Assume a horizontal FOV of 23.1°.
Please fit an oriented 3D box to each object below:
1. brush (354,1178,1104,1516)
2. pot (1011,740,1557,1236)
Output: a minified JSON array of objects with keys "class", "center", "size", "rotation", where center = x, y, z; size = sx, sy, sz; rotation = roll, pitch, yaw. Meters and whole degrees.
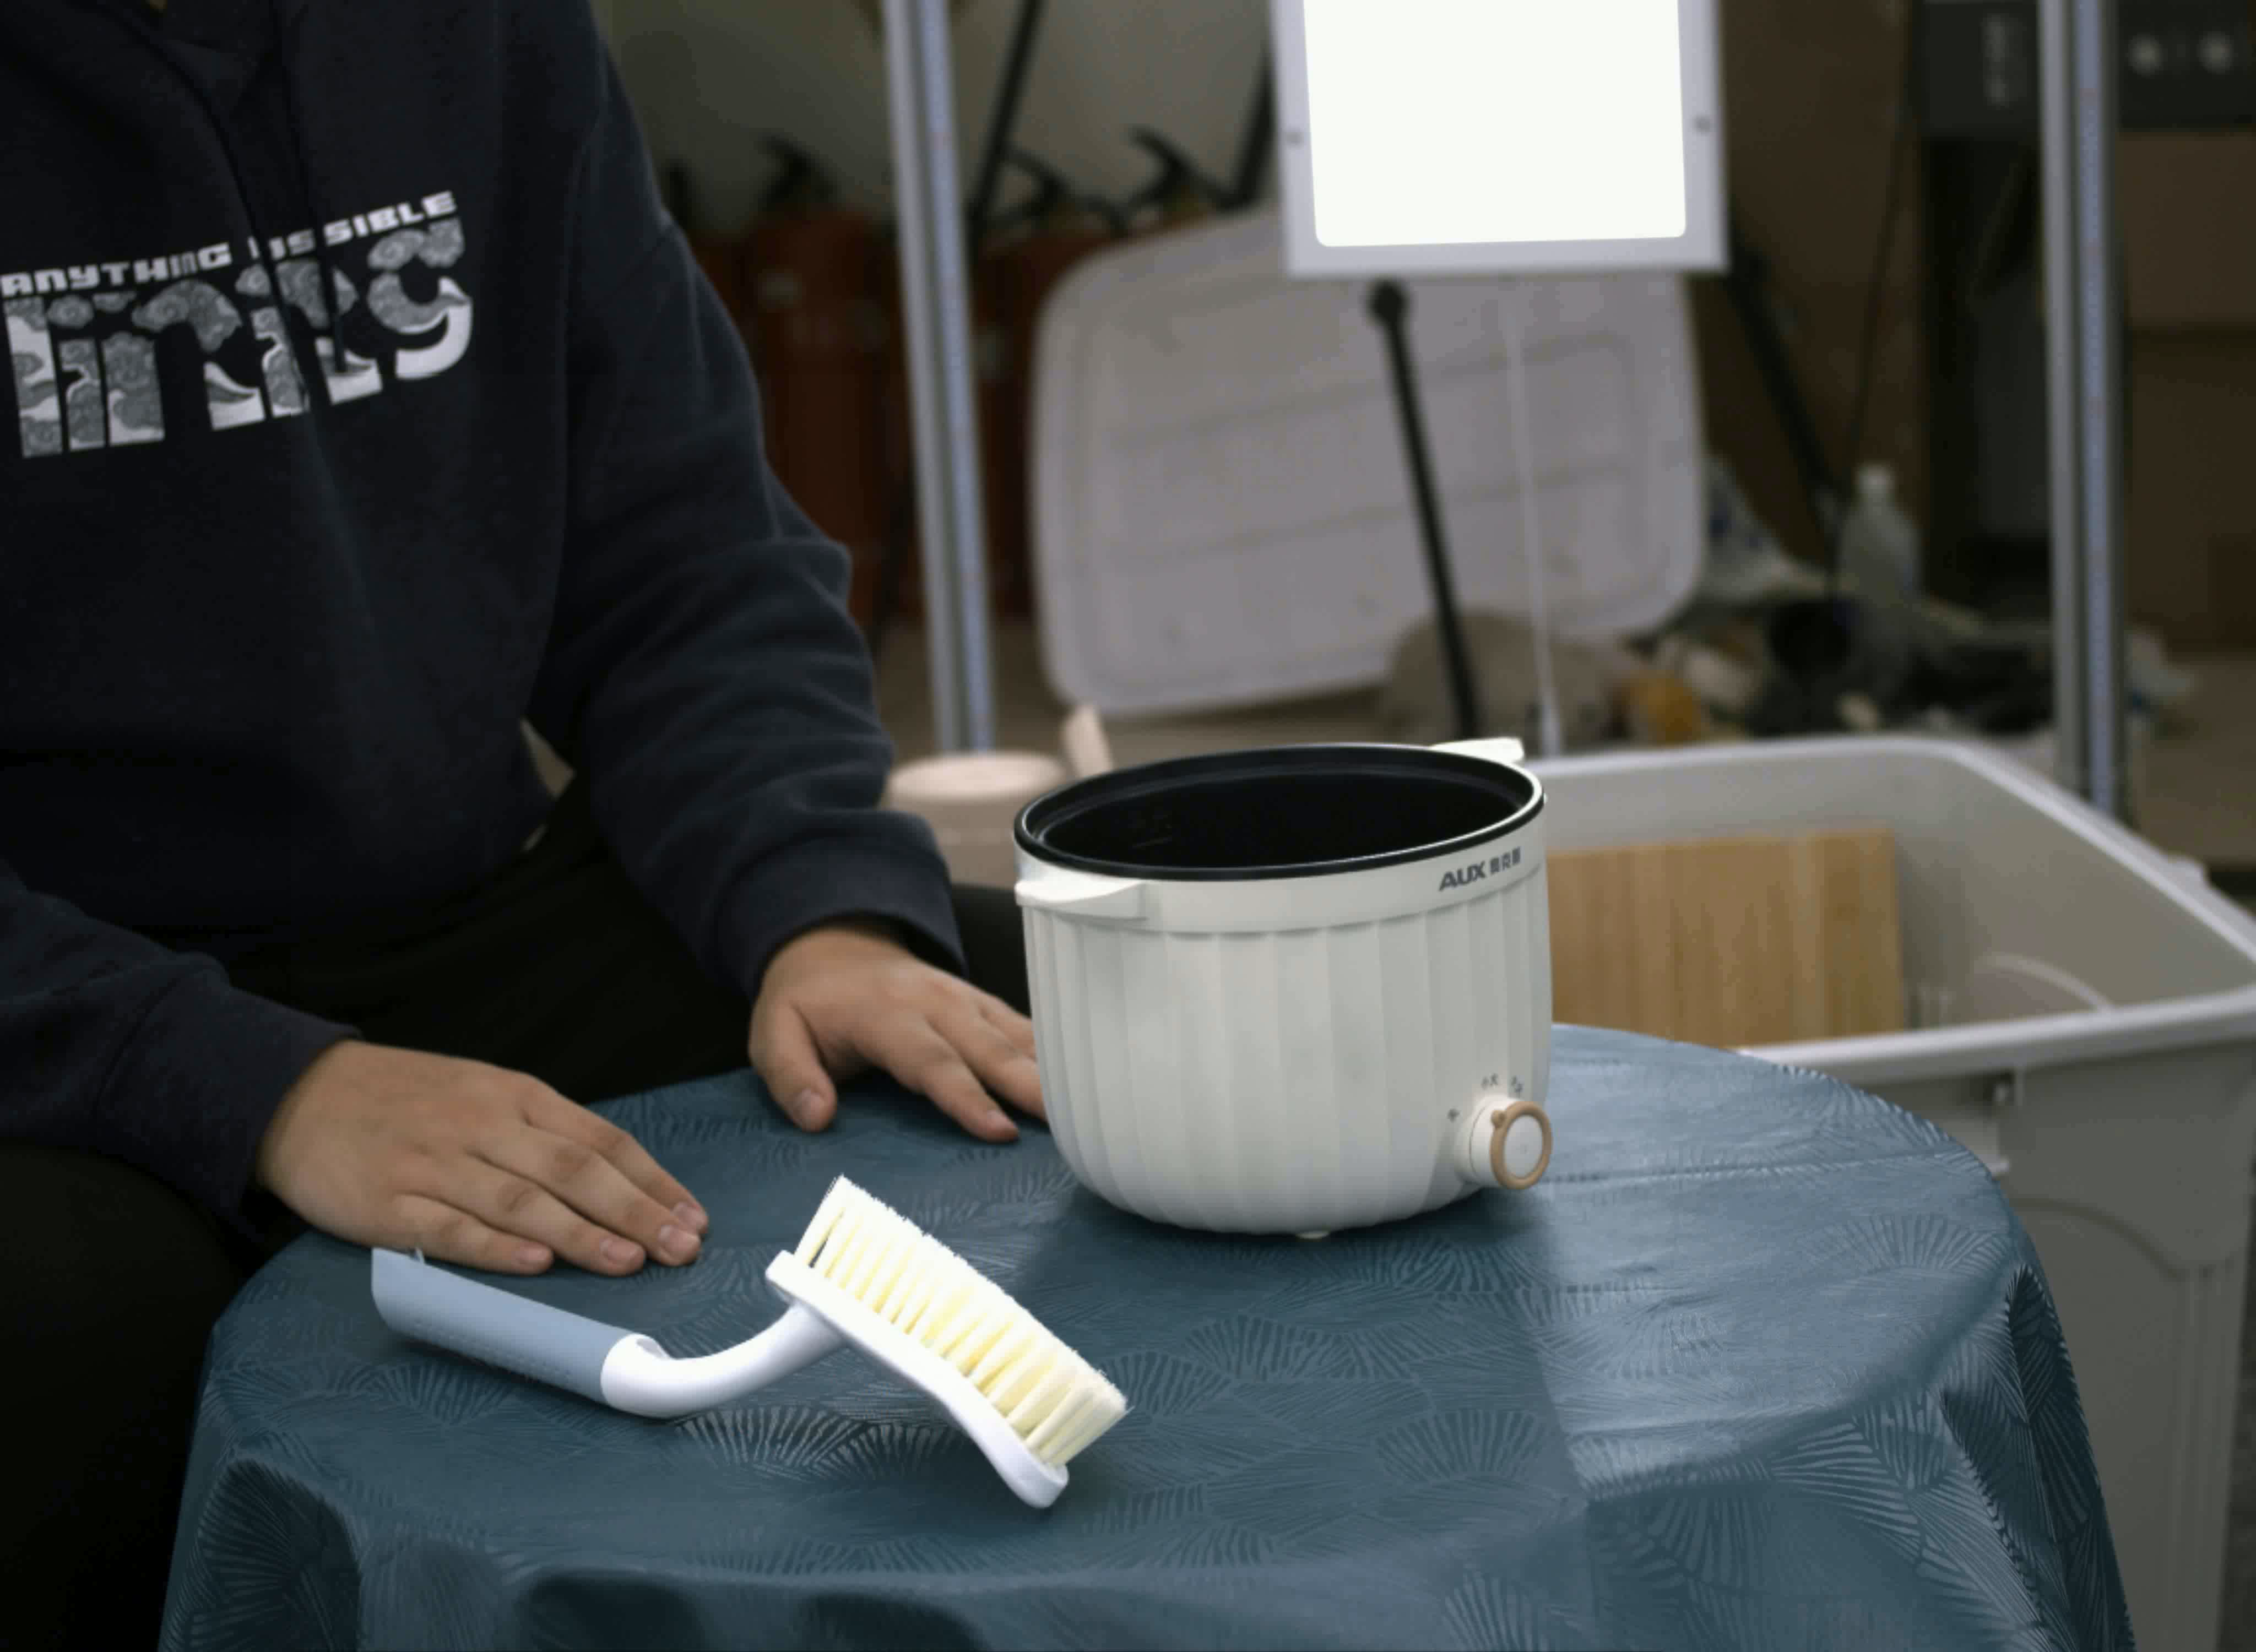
[{"class":"brush","center":[-0.125,0.139,1.712],"size":[0.082,0.083,0.332],"rotation":[-24,24,-38]},{"class":"pot","center":[0.060,0.057,1.871],"size":[0.195,0.143,0.234],"rotation":[4,17,45]}]
